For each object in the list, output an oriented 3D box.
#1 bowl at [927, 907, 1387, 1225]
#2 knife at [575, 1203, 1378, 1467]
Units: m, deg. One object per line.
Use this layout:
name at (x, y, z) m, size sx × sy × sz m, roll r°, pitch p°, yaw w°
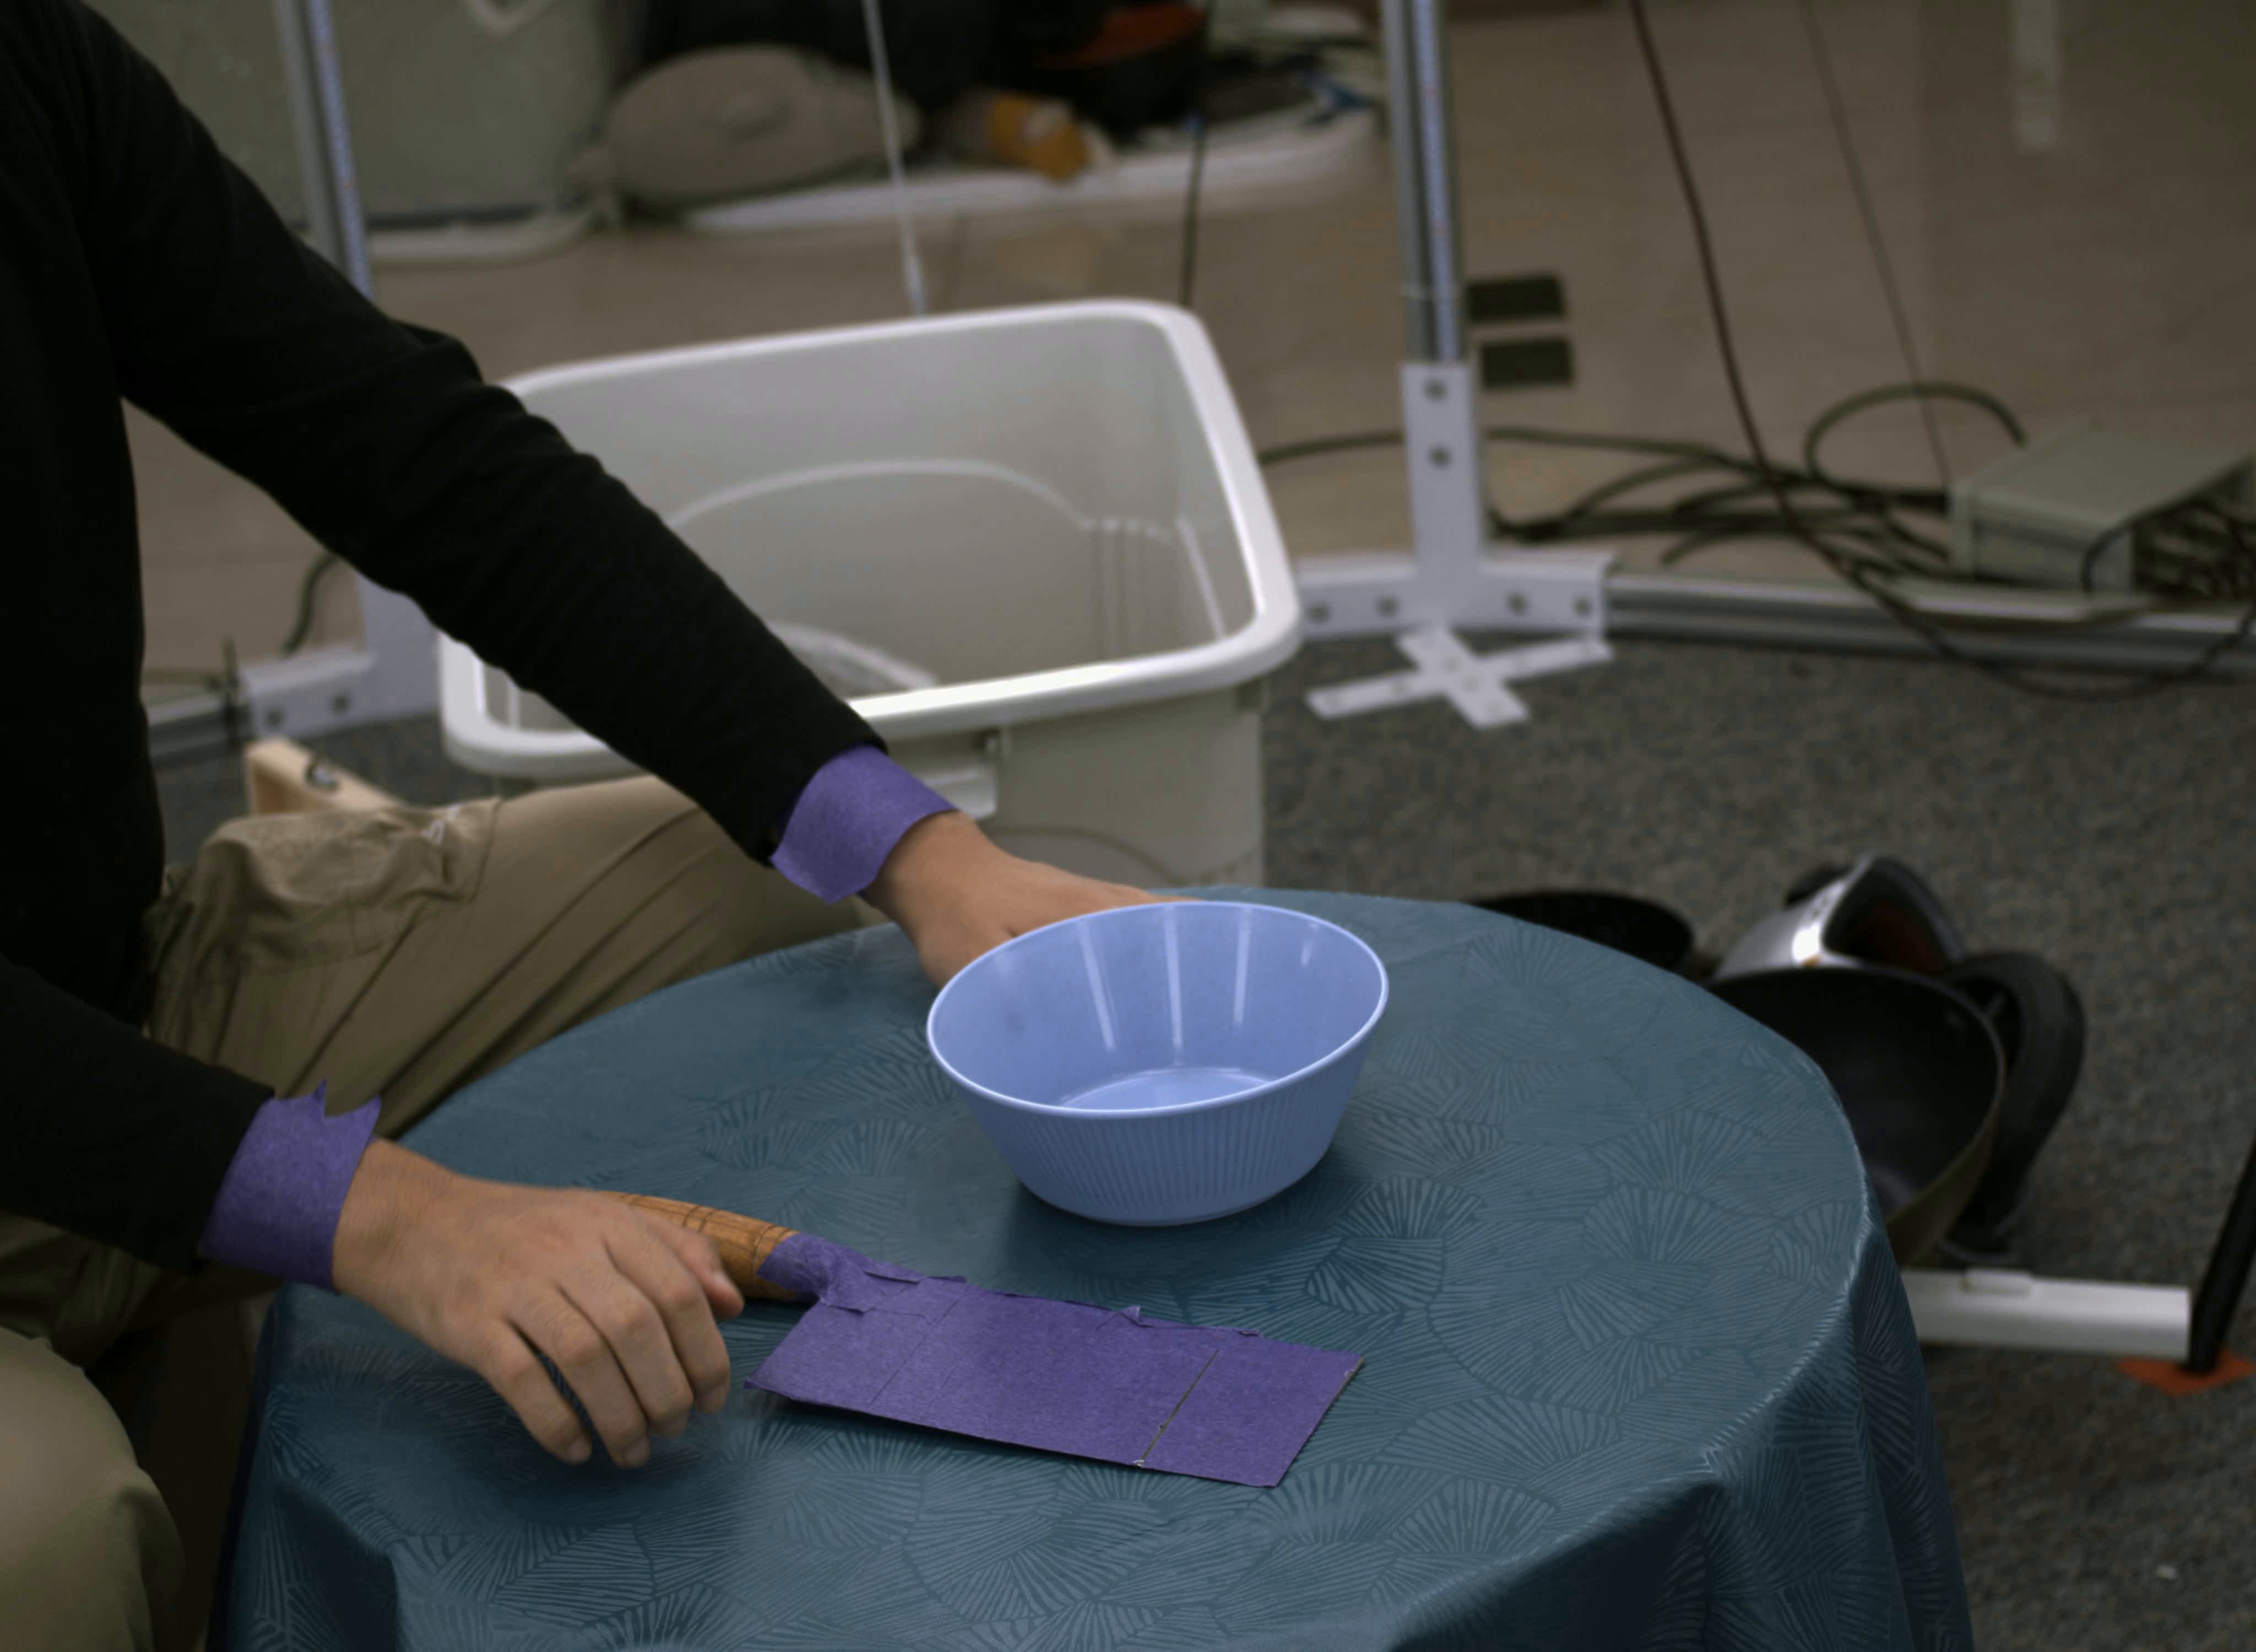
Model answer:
bowl at (0.014, 0.097, 2.152) m, size 0.176 × 0.071 × 0.173 m, roll -6°, pitch 24°, yaw 3°
knife at (-0.071, 0.182, 2.043) m, size 0.314 × 0.033 × 0.102 m, roll 6°, pitch 27°, yaw 23°
